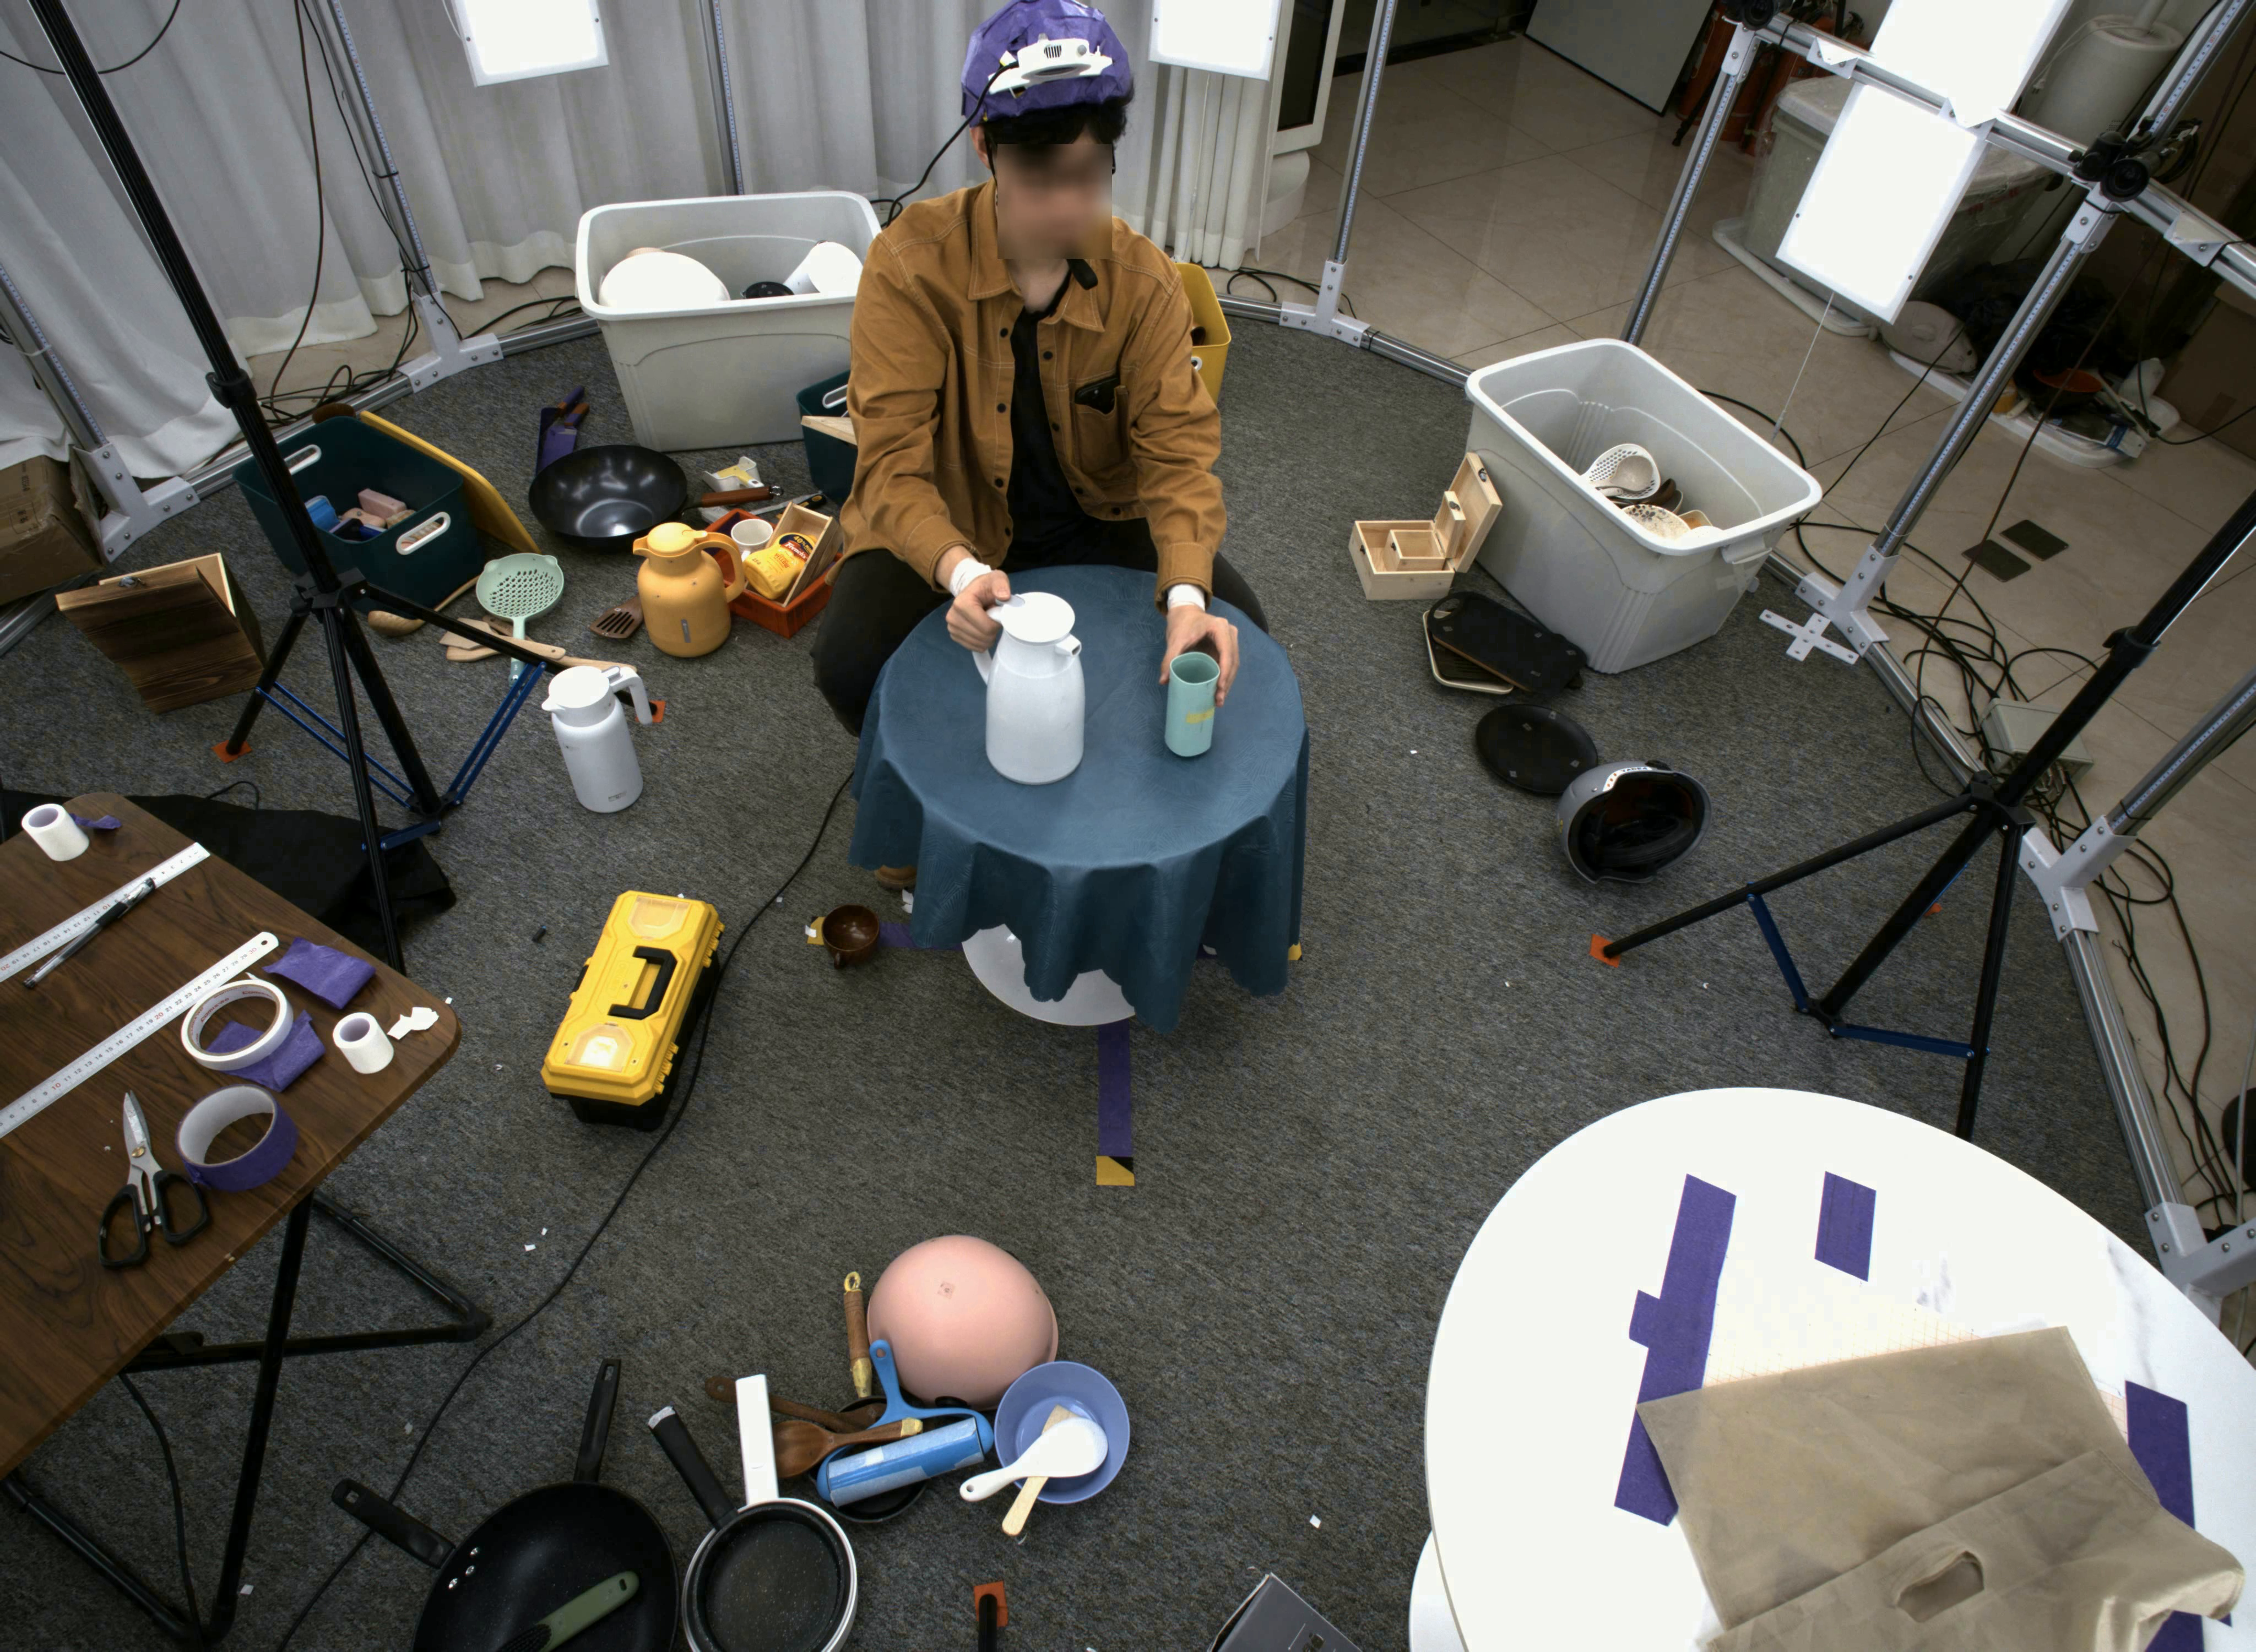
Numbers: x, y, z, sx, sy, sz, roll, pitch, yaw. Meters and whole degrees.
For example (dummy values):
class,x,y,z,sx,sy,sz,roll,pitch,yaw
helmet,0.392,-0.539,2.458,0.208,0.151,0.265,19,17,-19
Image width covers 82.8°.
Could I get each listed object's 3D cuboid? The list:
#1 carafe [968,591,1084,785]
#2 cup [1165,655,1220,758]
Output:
class,x,y,z,sx,sy,sz,roll,pitch,yaw
carafe,-0.137,-0.191,1.667,0.169,0.242,0.134,30,54,21
cup,0.085,-0.161,1.723,0.066,0.129,0.068,2,46,-2
